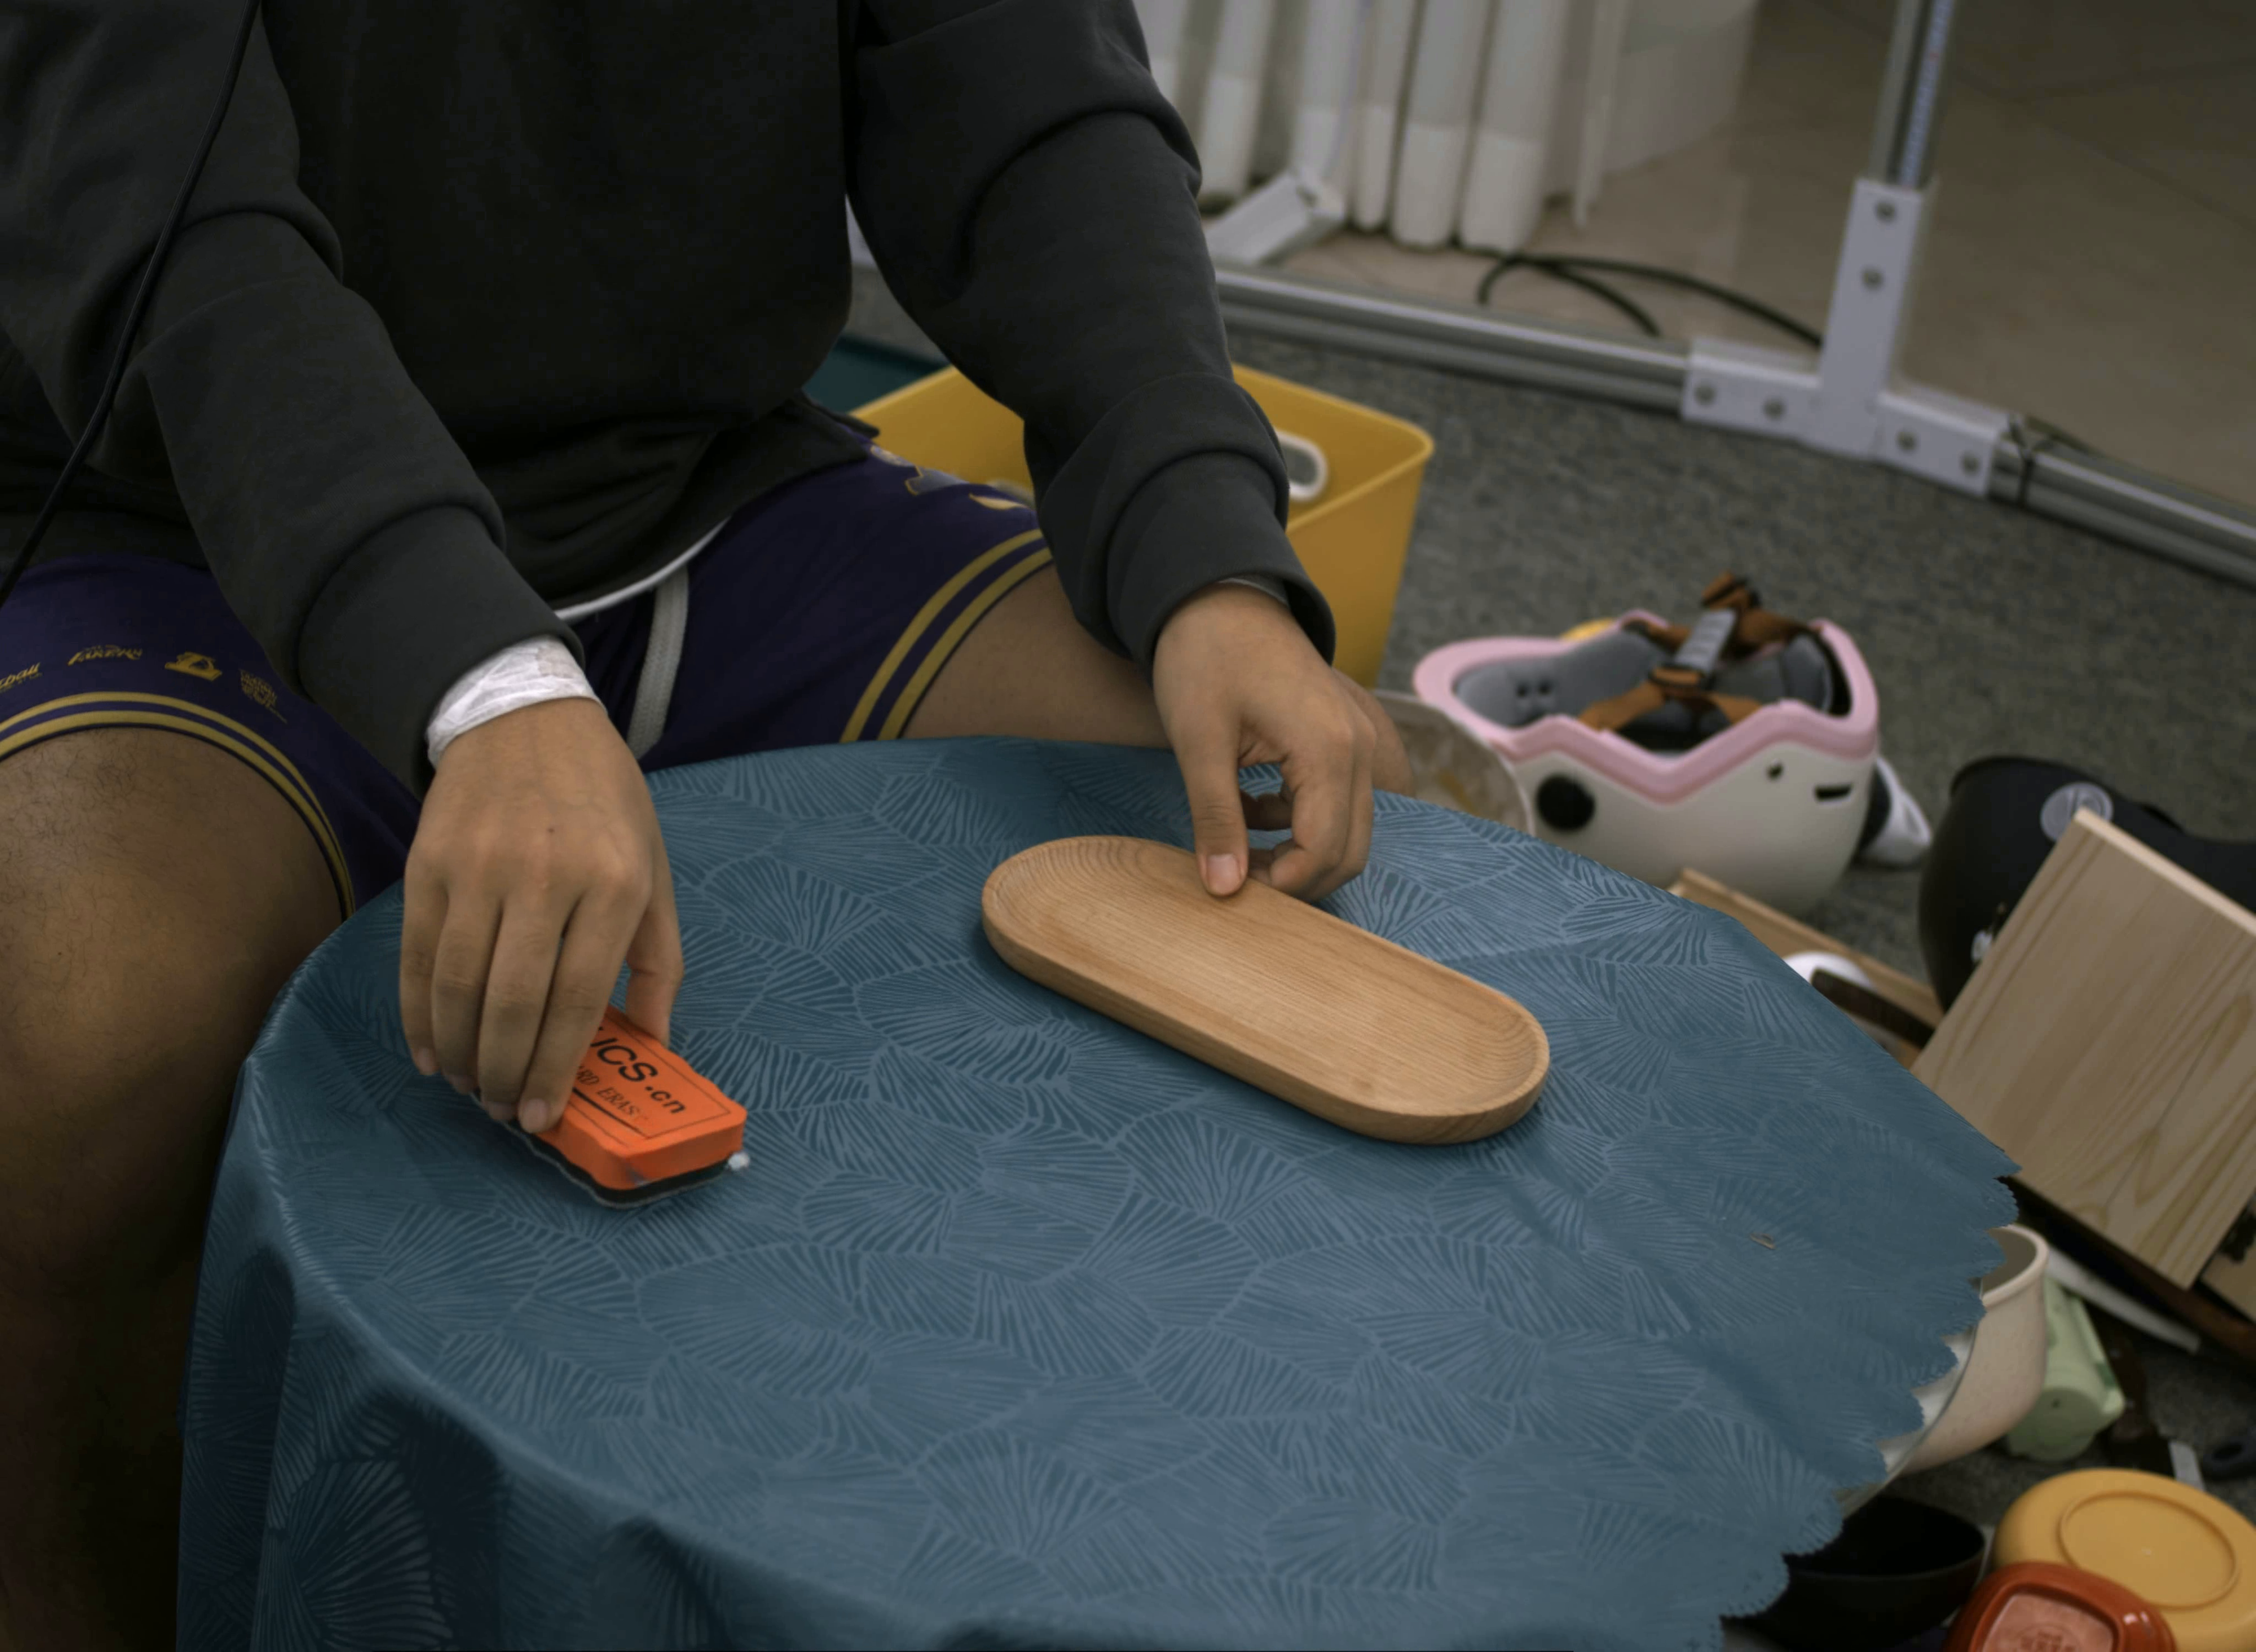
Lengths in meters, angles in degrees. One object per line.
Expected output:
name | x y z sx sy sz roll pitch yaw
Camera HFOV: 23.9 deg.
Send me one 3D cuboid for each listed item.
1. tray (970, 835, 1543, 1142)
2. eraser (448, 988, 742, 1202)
tray | 0.044 0.058 1.920 0.232 0.020 0.101 23 33 30
eraser | -0.181 0.091 1.799 0.058 0.023 0.109 16 13 -45
